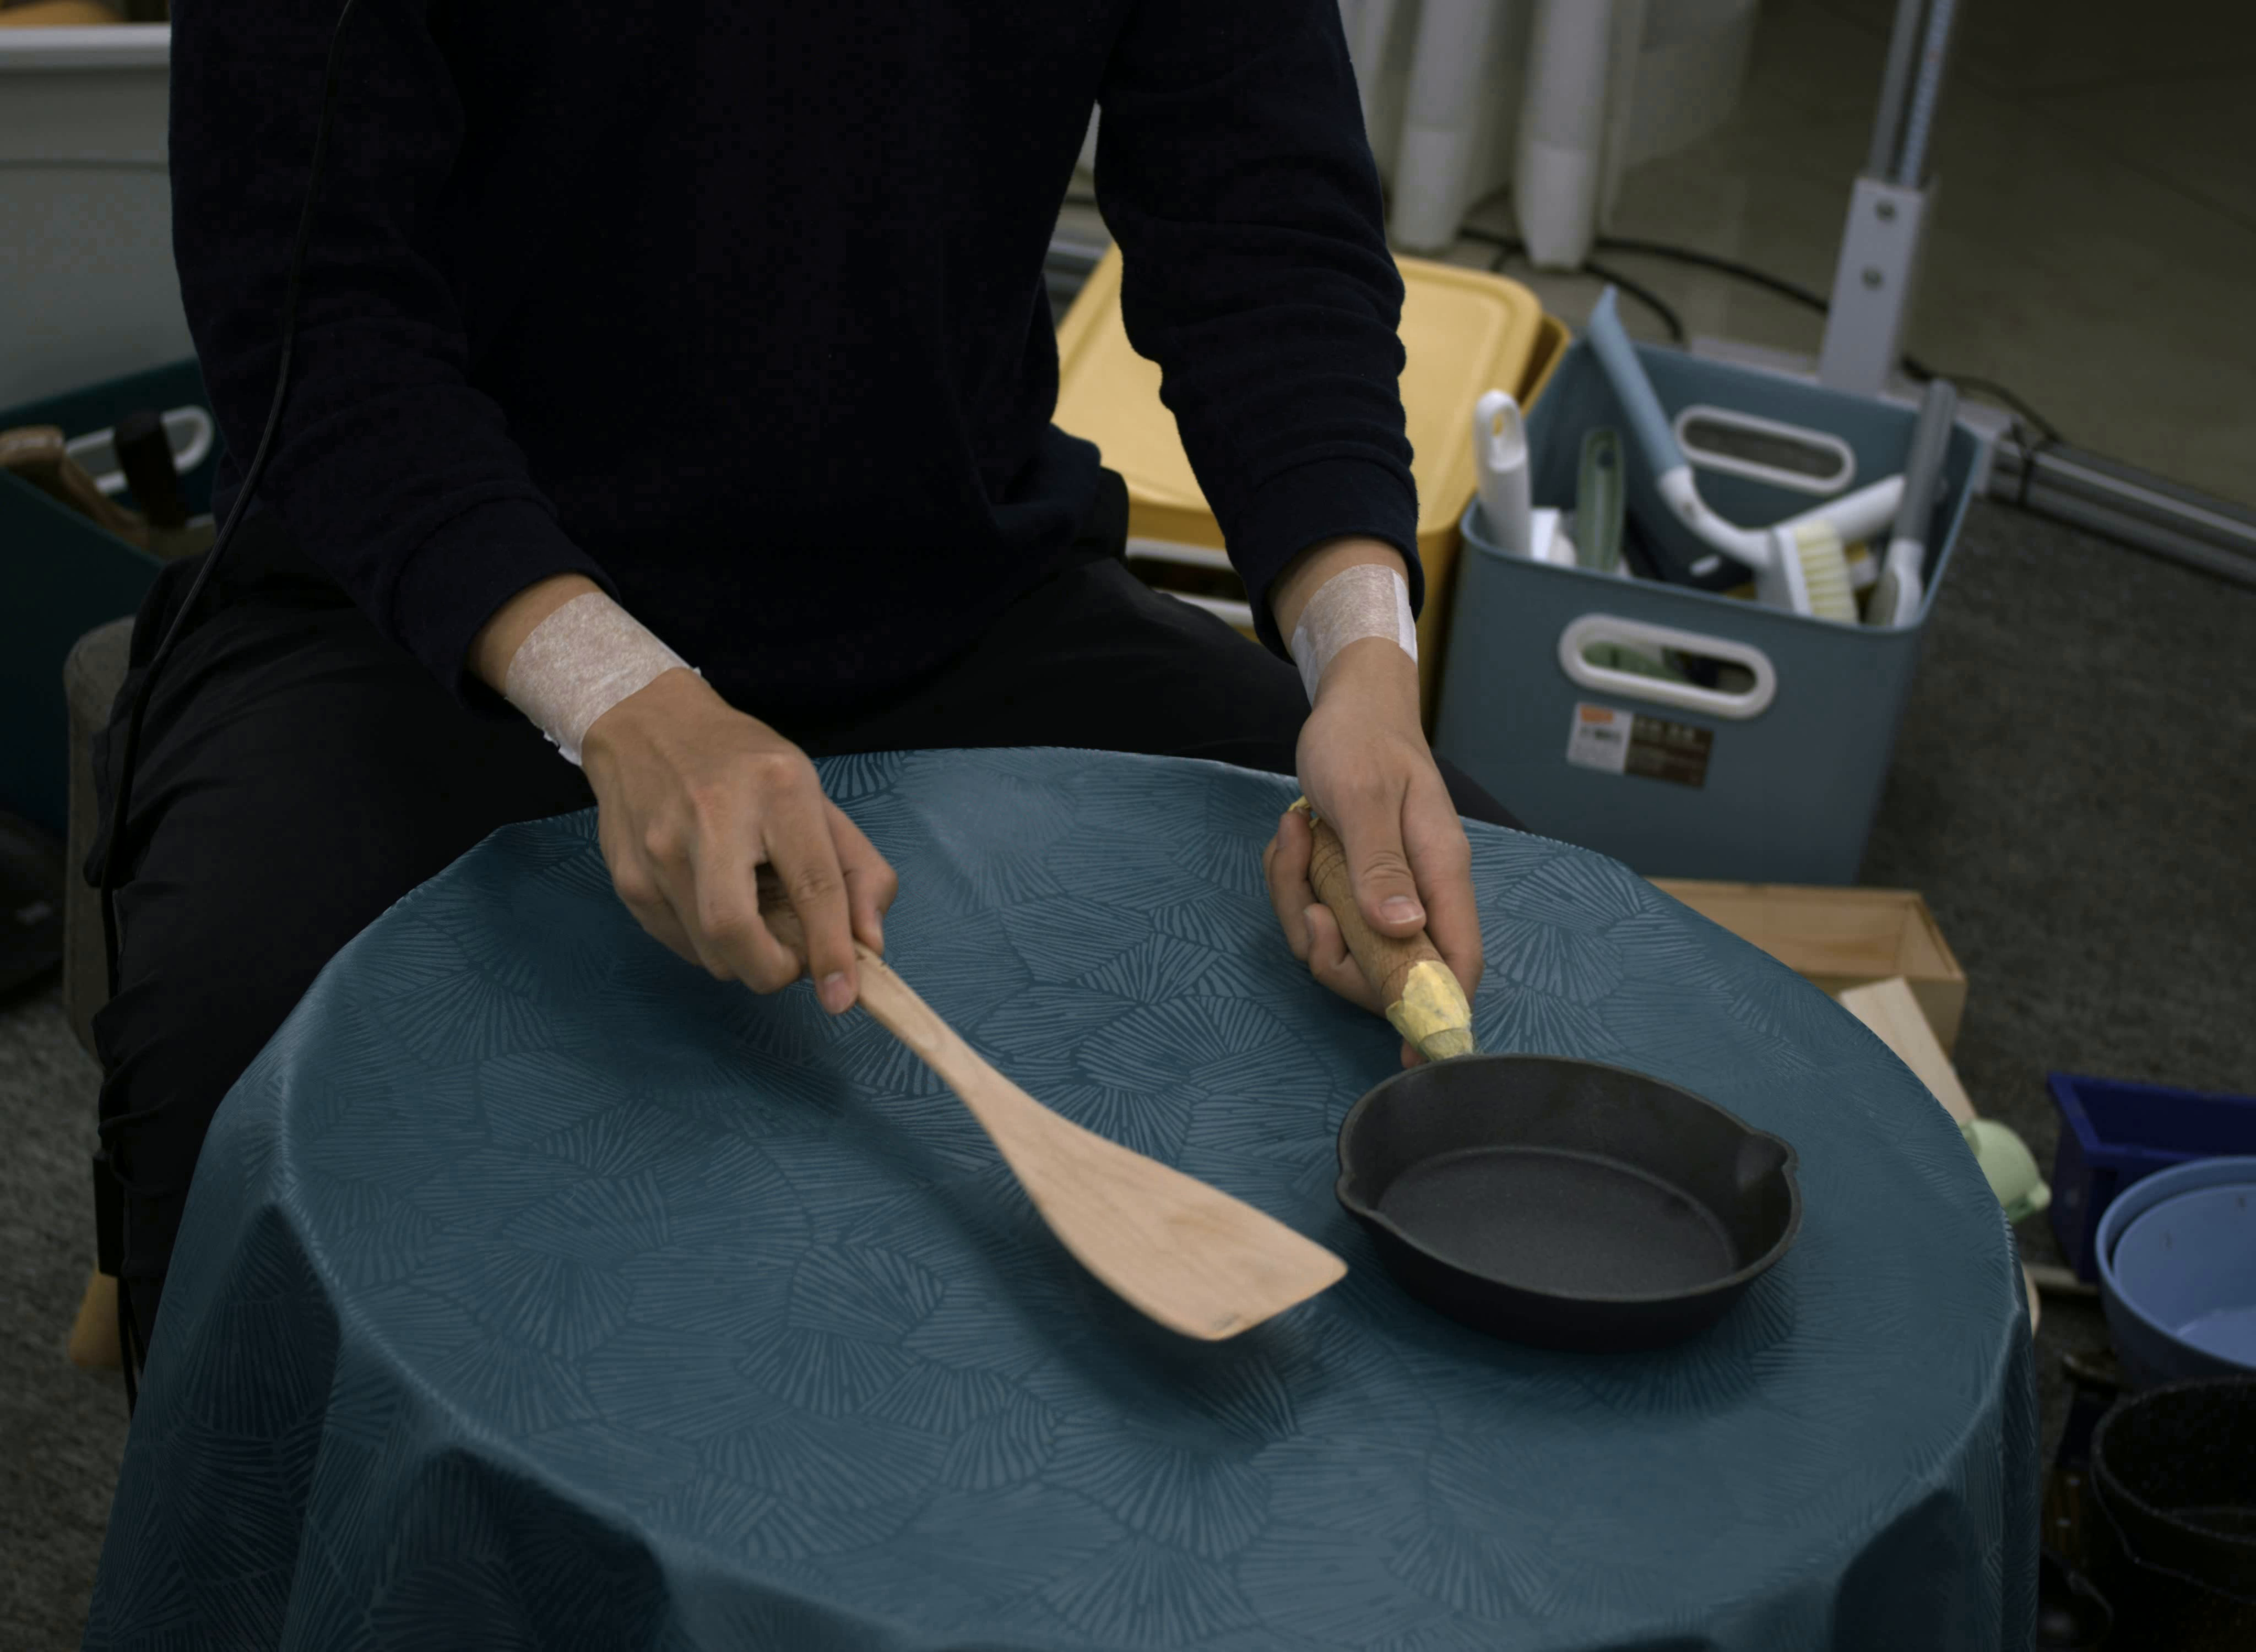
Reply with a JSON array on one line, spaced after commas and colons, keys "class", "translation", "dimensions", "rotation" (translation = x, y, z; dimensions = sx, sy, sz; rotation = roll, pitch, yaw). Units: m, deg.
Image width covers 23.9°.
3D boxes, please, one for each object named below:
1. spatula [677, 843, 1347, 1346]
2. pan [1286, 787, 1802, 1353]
[{"class": "spatula", "translation": [-0.051, 0.083, 1.785], "dimensions": [0.079, 0.016, 0.330], "rotation": [-12, 37, -39]}, {"class": "pan", "translation": [0.120, 0.082, 1.854], "dimensions": [0.168, 0.049, 0.327], "rotation": [-4, 30, -19]}]
